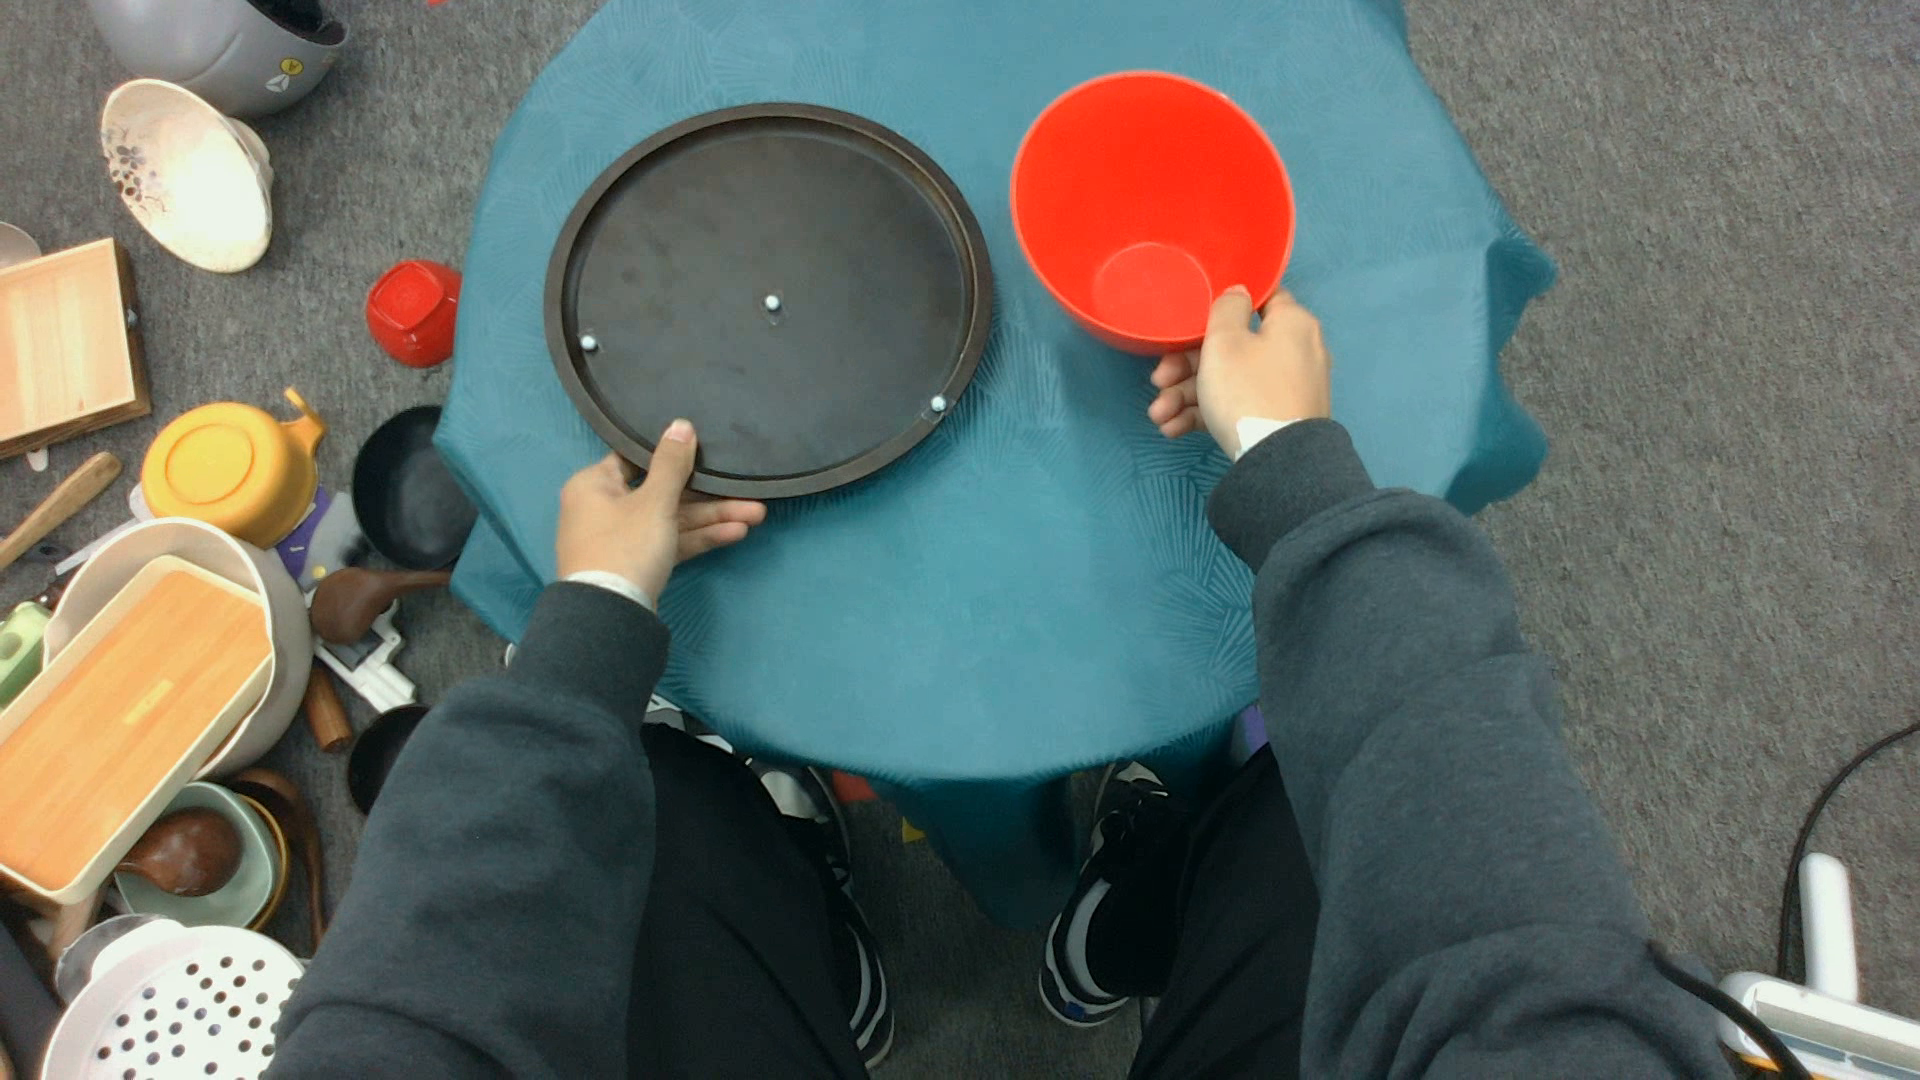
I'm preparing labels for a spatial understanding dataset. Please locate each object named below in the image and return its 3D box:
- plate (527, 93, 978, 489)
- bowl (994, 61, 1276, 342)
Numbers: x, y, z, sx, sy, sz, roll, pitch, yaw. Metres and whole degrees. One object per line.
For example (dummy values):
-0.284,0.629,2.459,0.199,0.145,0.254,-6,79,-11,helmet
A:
-0.117,-0.145,0.782,0.255,0.029,0.255,1,70,-2,plate
0.091,-0.168,0.745,0.148,0.104,0.148,0,70,0,bowl
